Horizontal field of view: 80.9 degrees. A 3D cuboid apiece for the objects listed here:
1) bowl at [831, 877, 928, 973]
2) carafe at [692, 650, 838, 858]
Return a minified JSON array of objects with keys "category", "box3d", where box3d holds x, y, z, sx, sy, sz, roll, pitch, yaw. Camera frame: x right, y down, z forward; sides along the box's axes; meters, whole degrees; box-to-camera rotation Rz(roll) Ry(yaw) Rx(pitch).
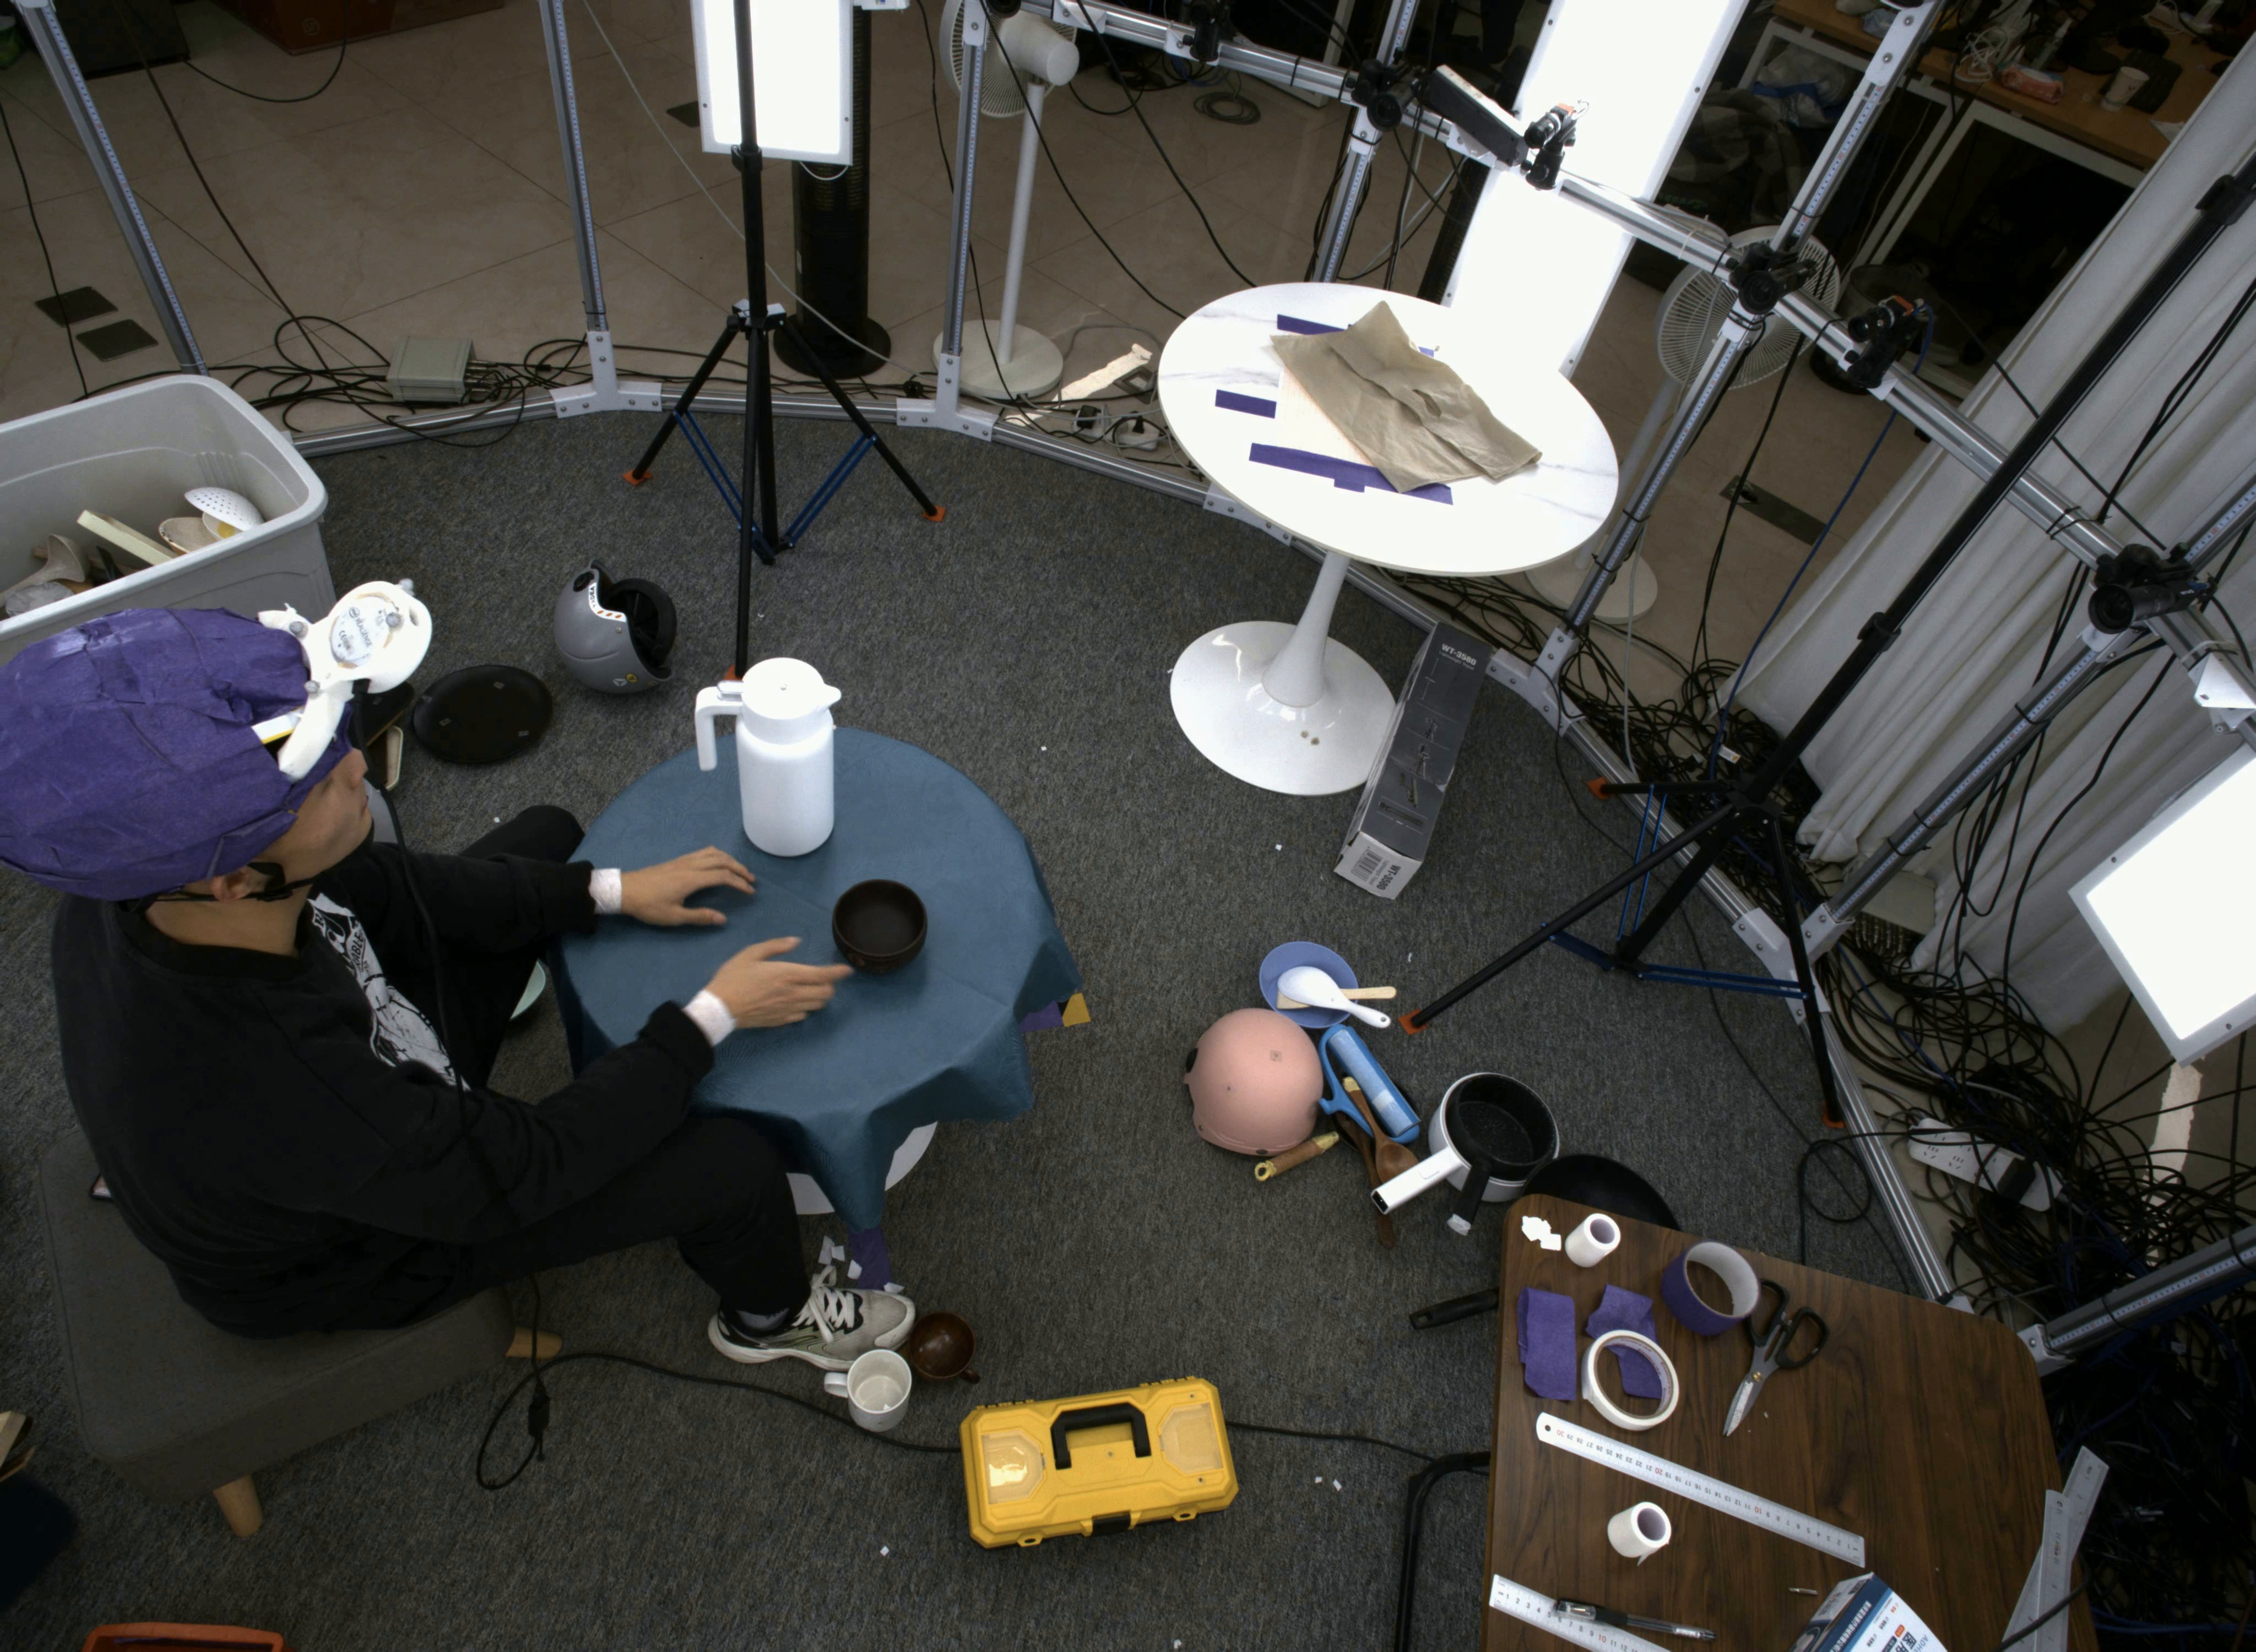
[{"category":"bowl","box3d":[-0.308,0.128,1.608,0.118,0.071,0.116,8,51,-9]},{"category":"carafe","box3d":[-0.446,-0.085,1.606,0.173,0.274,0.121,-2,54,-14]}]
